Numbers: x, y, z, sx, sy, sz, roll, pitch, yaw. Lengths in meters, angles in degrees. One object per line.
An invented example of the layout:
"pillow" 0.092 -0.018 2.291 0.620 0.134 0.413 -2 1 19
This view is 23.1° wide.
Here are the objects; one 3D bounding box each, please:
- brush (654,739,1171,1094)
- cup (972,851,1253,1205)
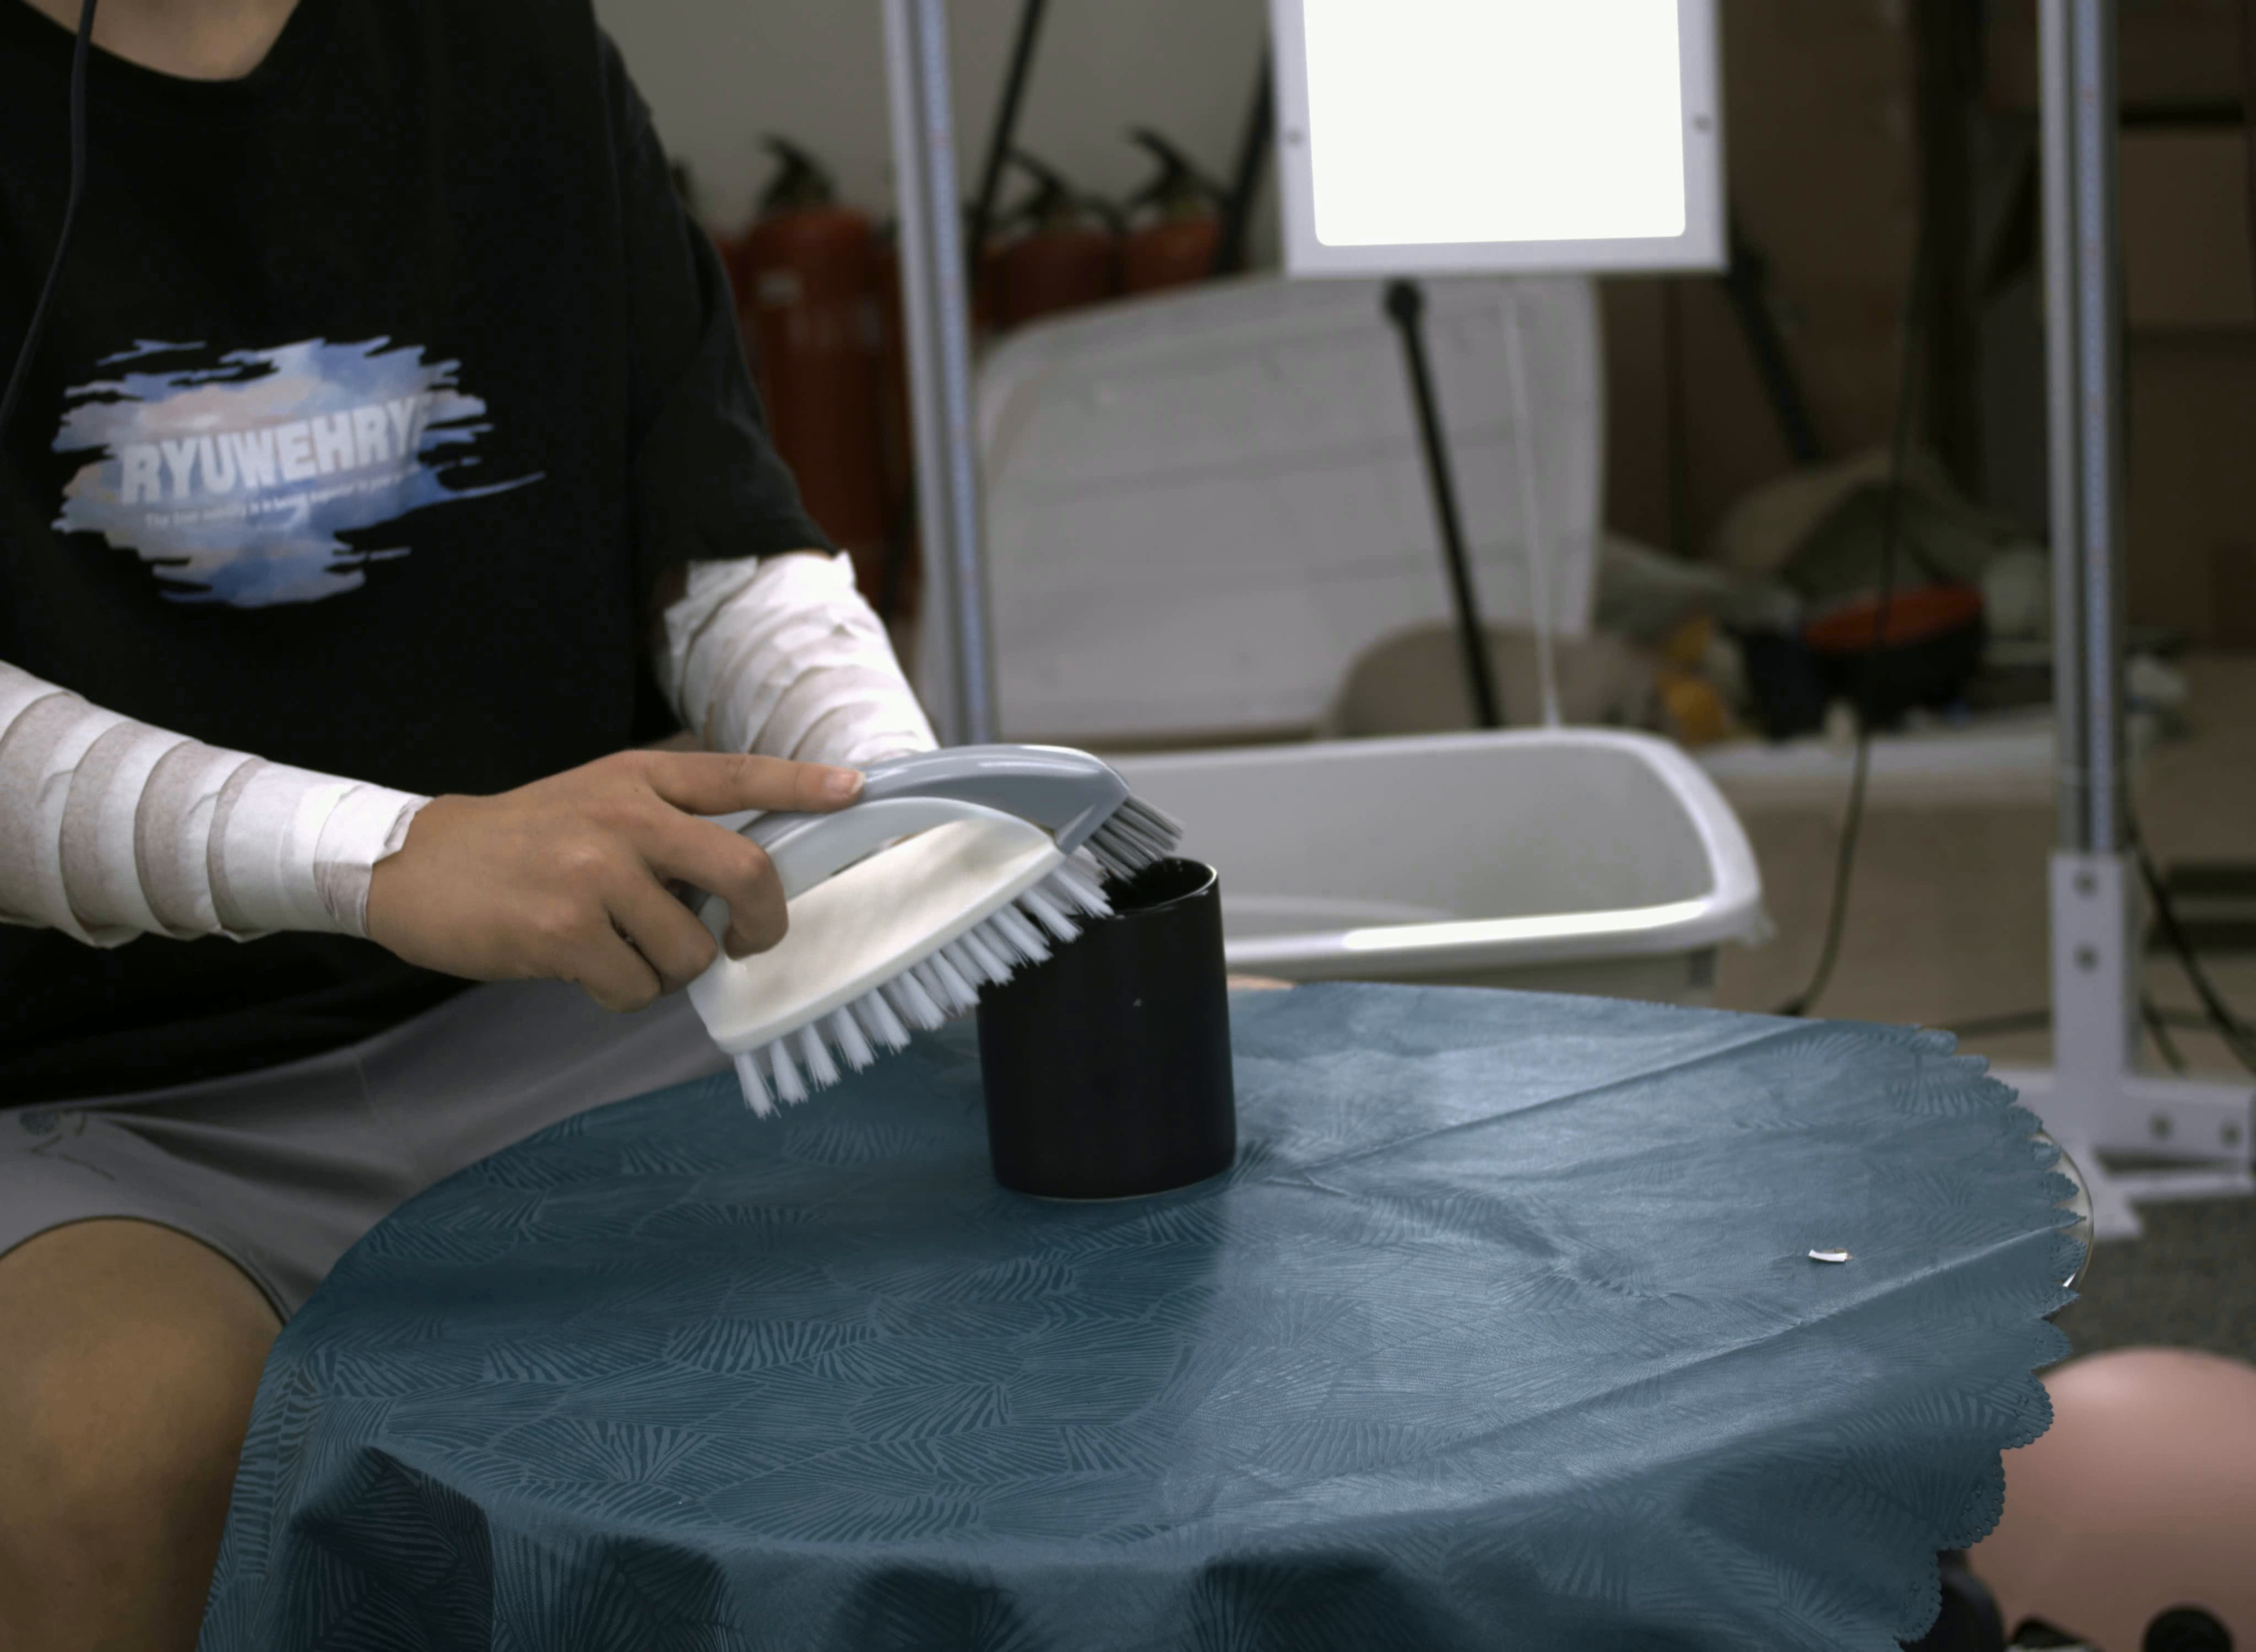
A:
"brush" -0.079 0.013 1.867 0.176 0.093 0.061 -26 37 10
"cup" -0.009 0.066 1.937 0.088 0.105 0.124 -11 13 -4
